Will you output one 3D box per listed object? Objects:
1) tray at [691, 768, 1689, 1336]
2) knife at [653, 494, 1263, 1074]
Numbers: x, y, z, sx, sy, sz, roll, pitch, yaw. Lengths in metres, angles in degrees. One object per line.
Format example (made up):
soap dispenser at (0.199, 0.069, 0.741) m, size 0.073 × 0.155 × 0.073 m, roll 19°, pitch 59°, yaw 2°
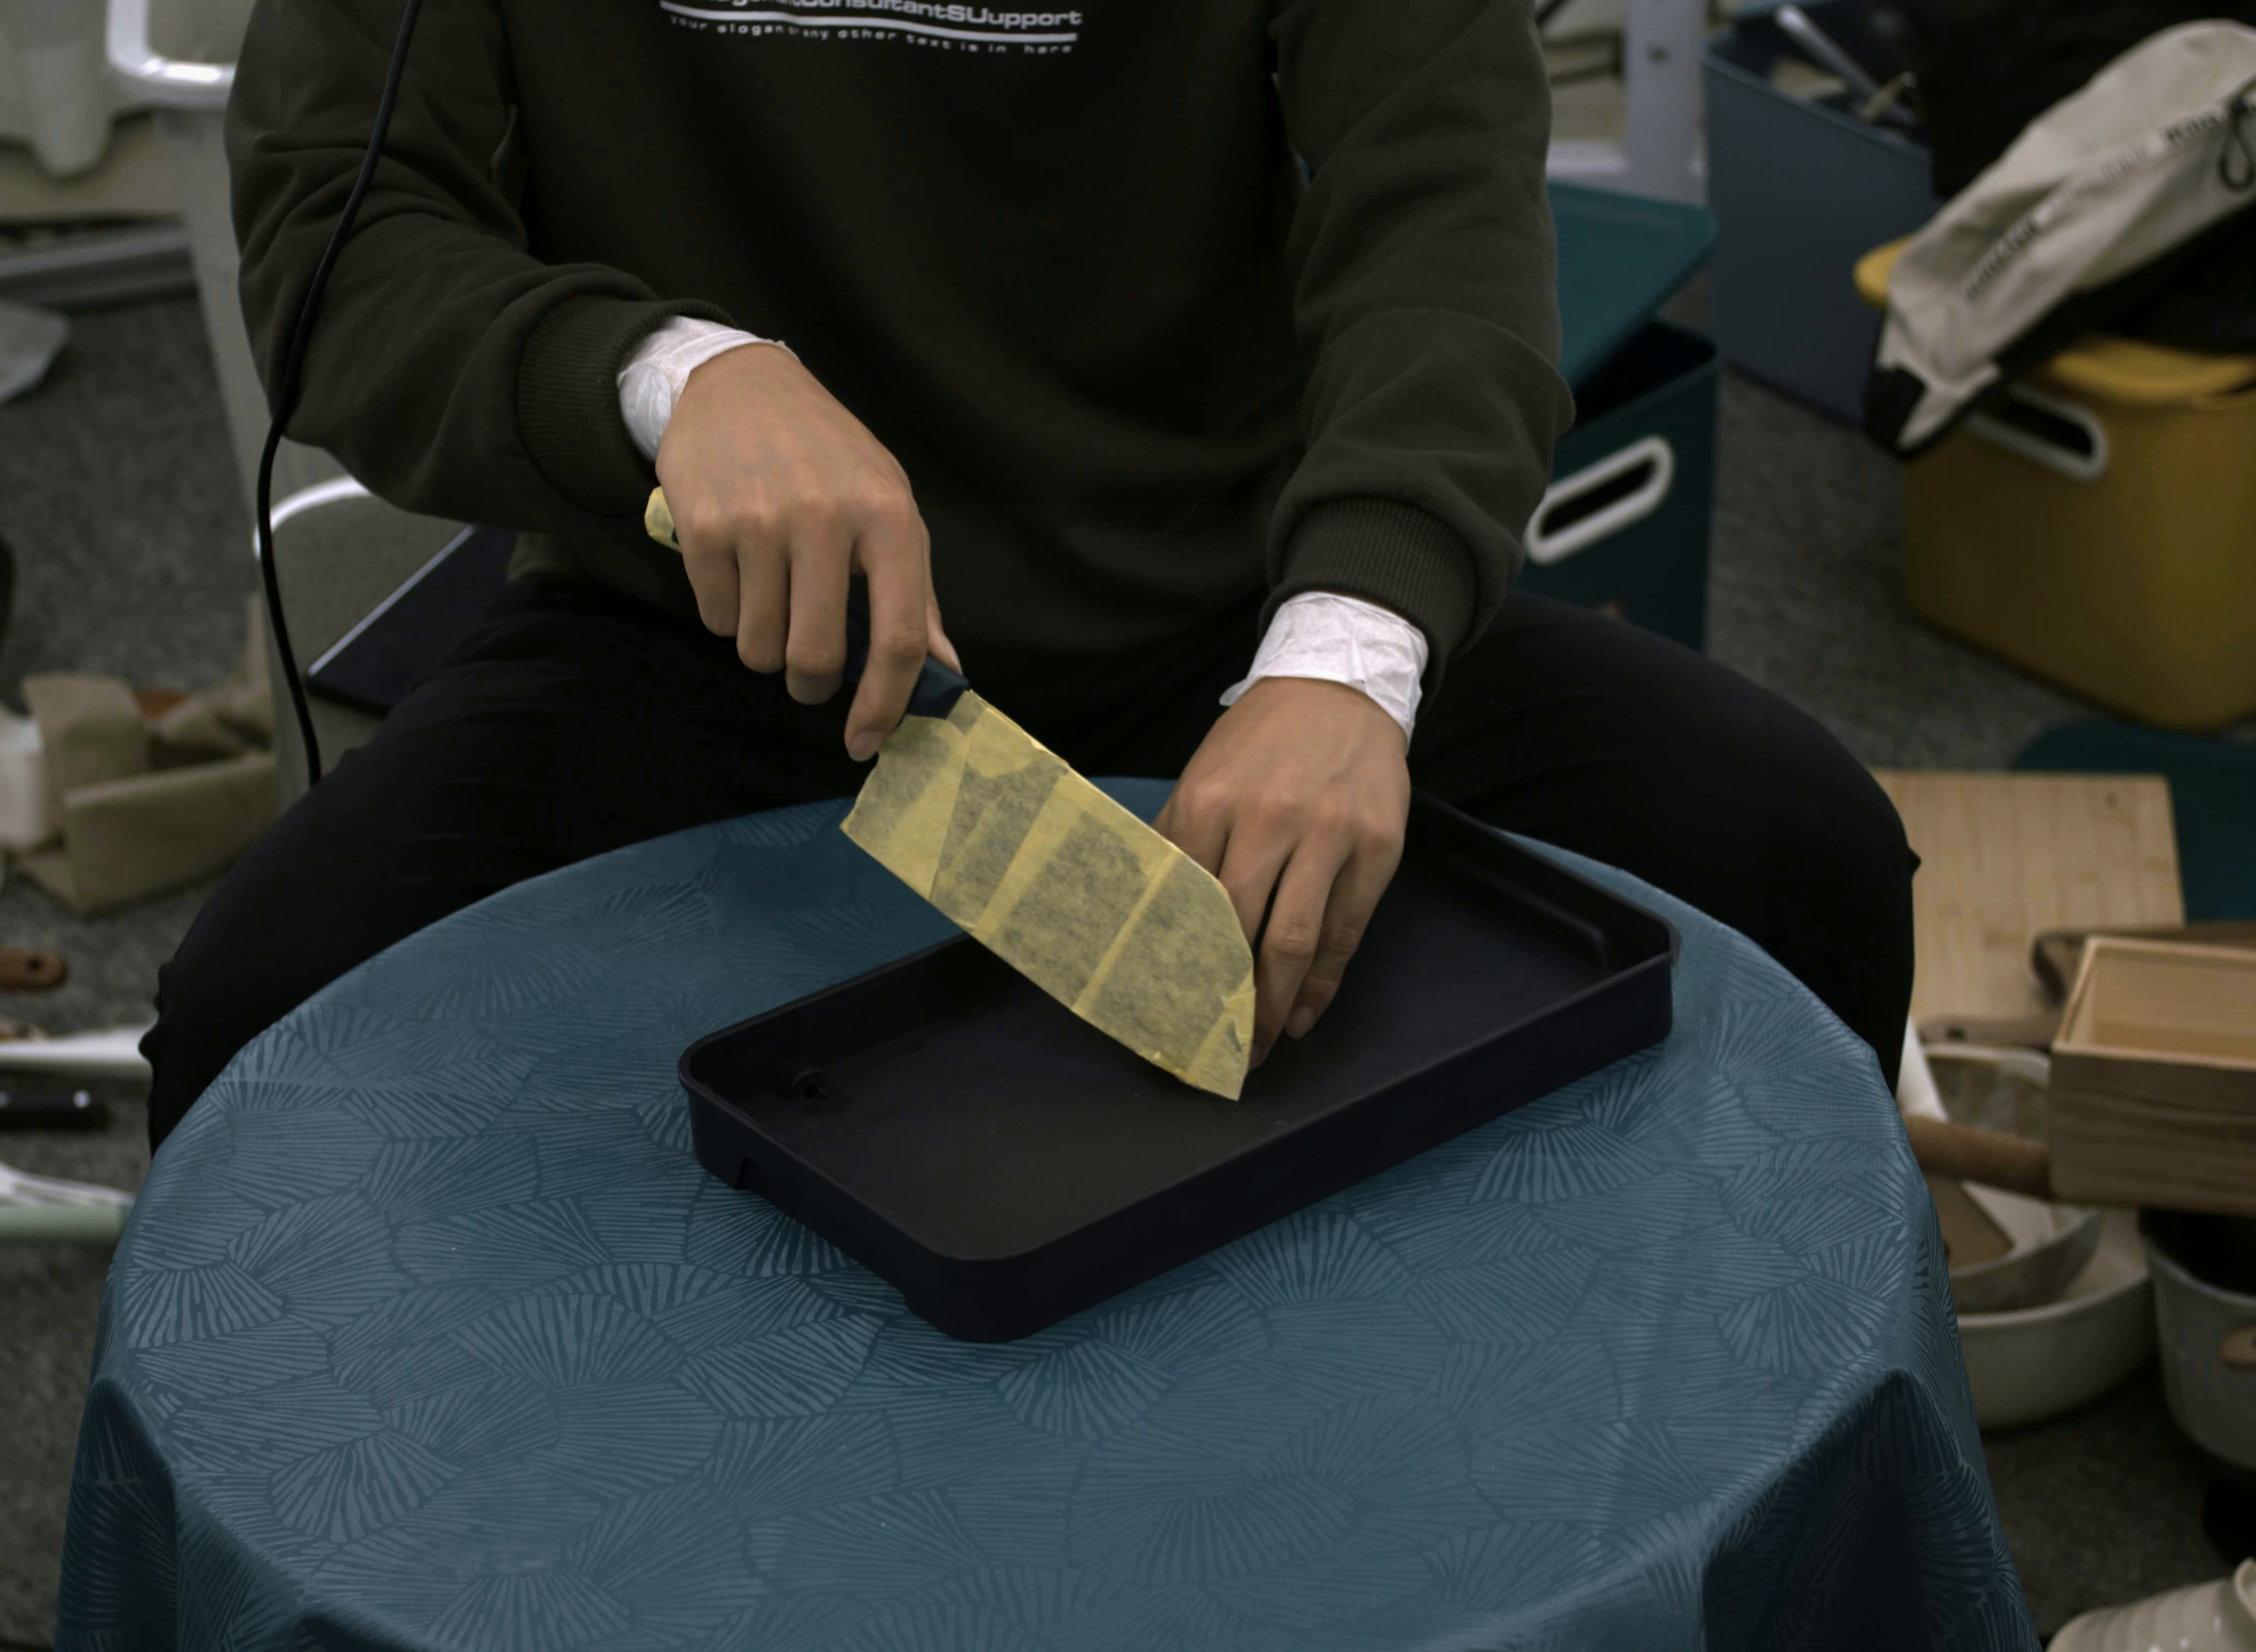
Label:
tray at (0.024, 0.071, 1.917) m, size 0.321 × 0.036 × 0.184 m, roll -23°, pitch 33°, yaw -34°
knife at (-0.062, -0.014, 1.935) m, size 0.290 × 0.080 × 0.027 m, roll 41°, pitch 19°, yaw 16°
